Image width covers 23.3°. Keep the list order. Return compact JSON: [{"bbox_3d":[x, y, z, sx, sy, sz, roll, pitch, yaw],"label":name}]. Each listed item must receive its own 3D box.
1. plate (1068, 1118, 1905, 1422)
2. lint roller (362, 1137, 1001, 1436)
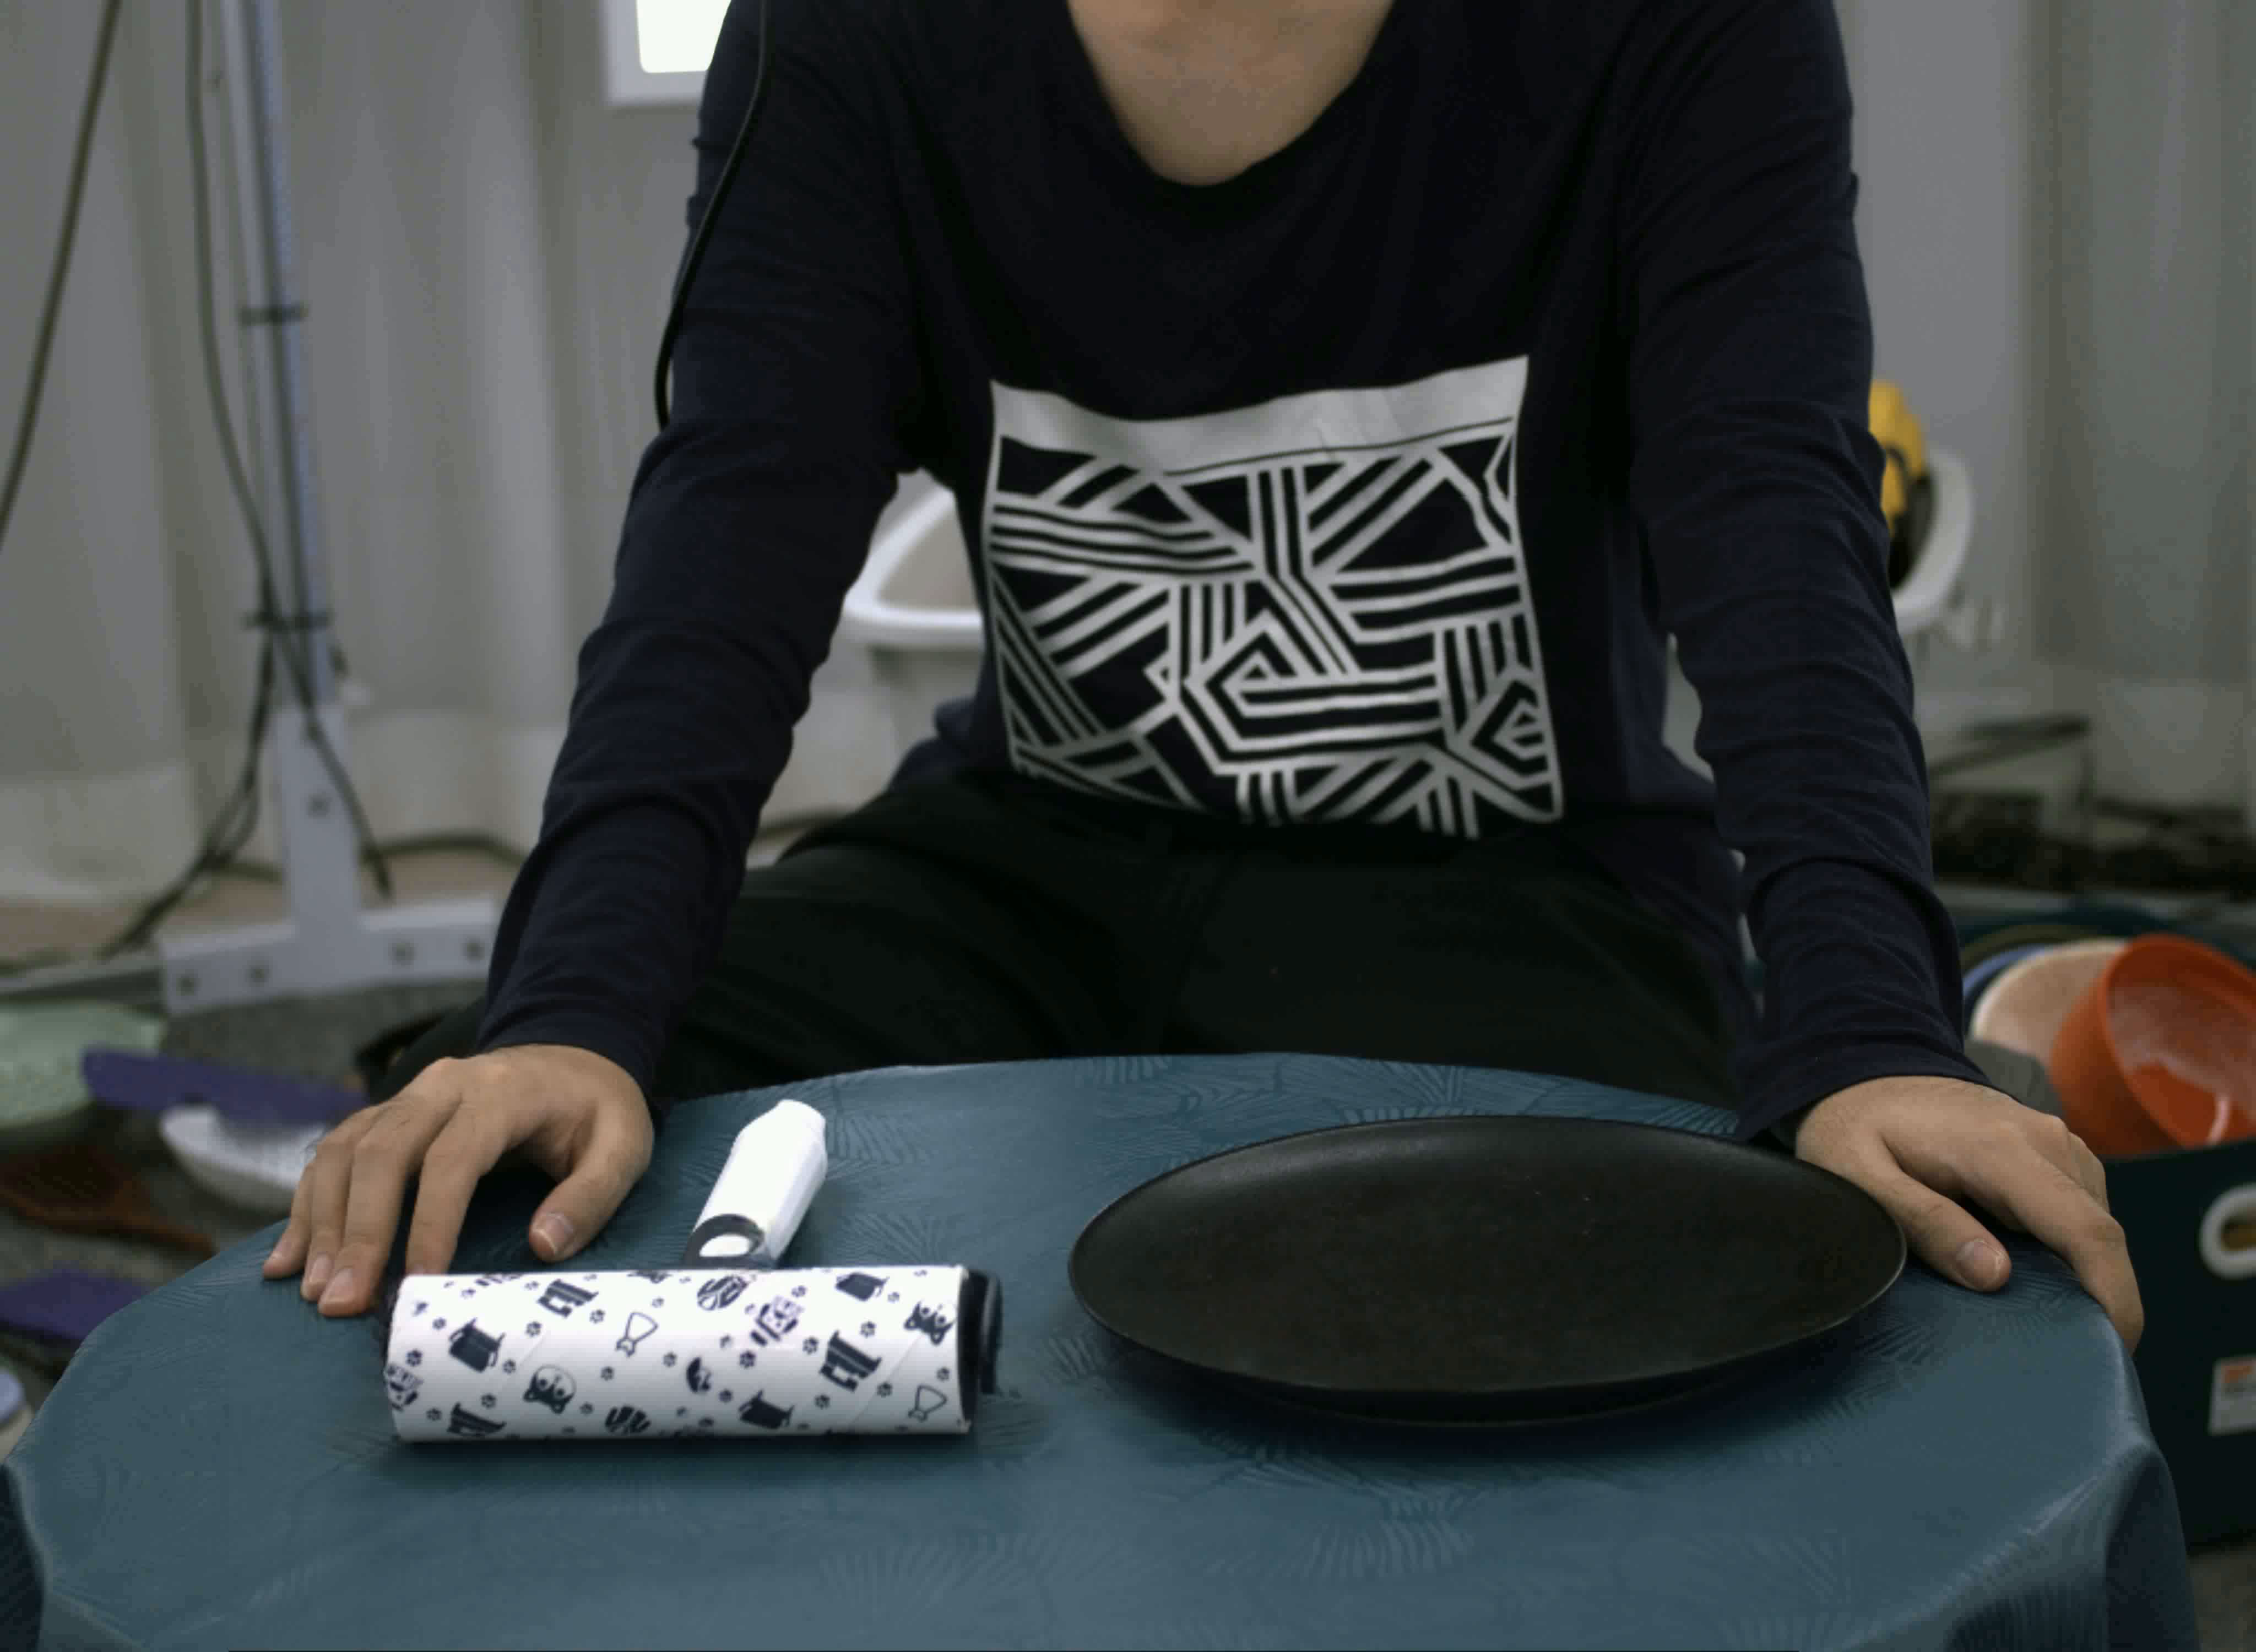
[{"bbox_3d":[0.104,0.131,1.592,0.243,0.023,0.246,-3,15,0],"label":"plate"},{"bbox_3d":[-0.118,0.125,1.625,0.176,0.050,0.248,-3,11,4],"label":"lint roller"}]
